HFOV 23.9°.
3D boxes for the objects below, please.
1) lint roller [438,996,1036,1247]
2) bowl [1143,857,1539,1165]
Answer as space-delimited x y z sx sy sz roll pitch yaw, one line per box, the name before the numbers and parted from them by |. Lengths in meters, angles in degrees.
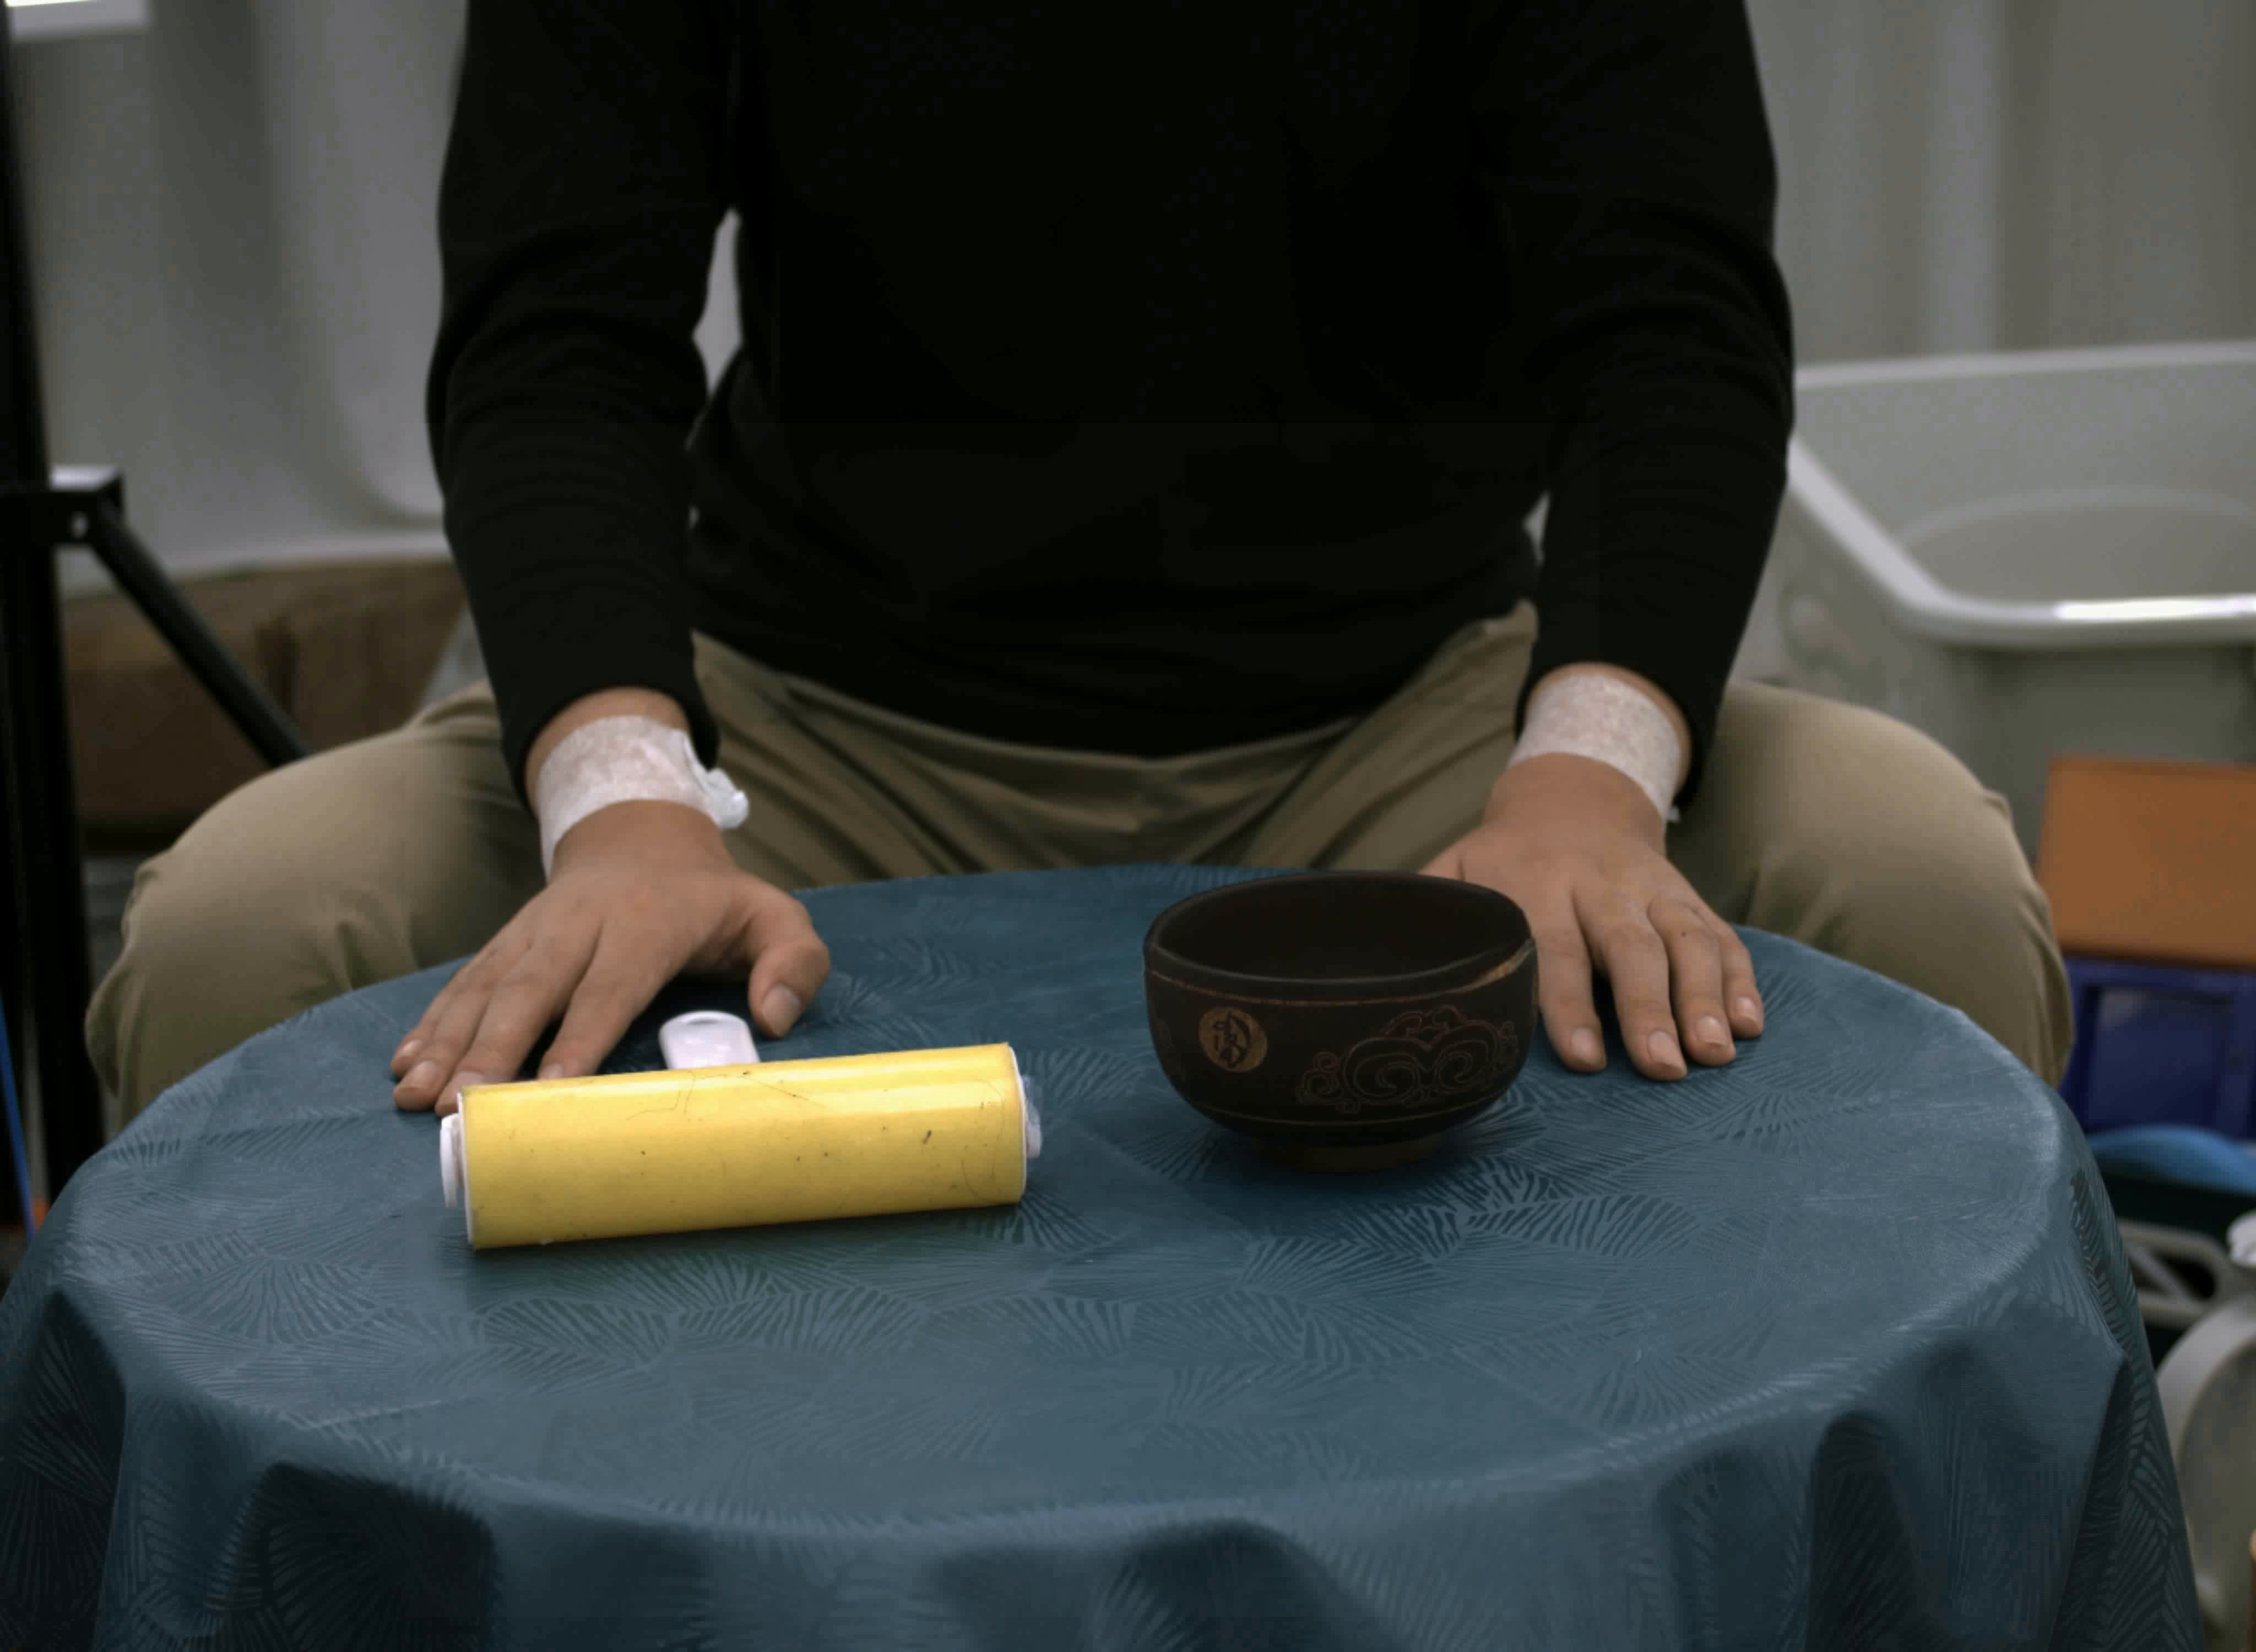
lint roller | -0.126 0.071 1.612 0.172 0.051 0.194 -5 20 -8
bowl | 0.064 0.059 1.582 0.117 0.070 0.118 -2 17 -1
